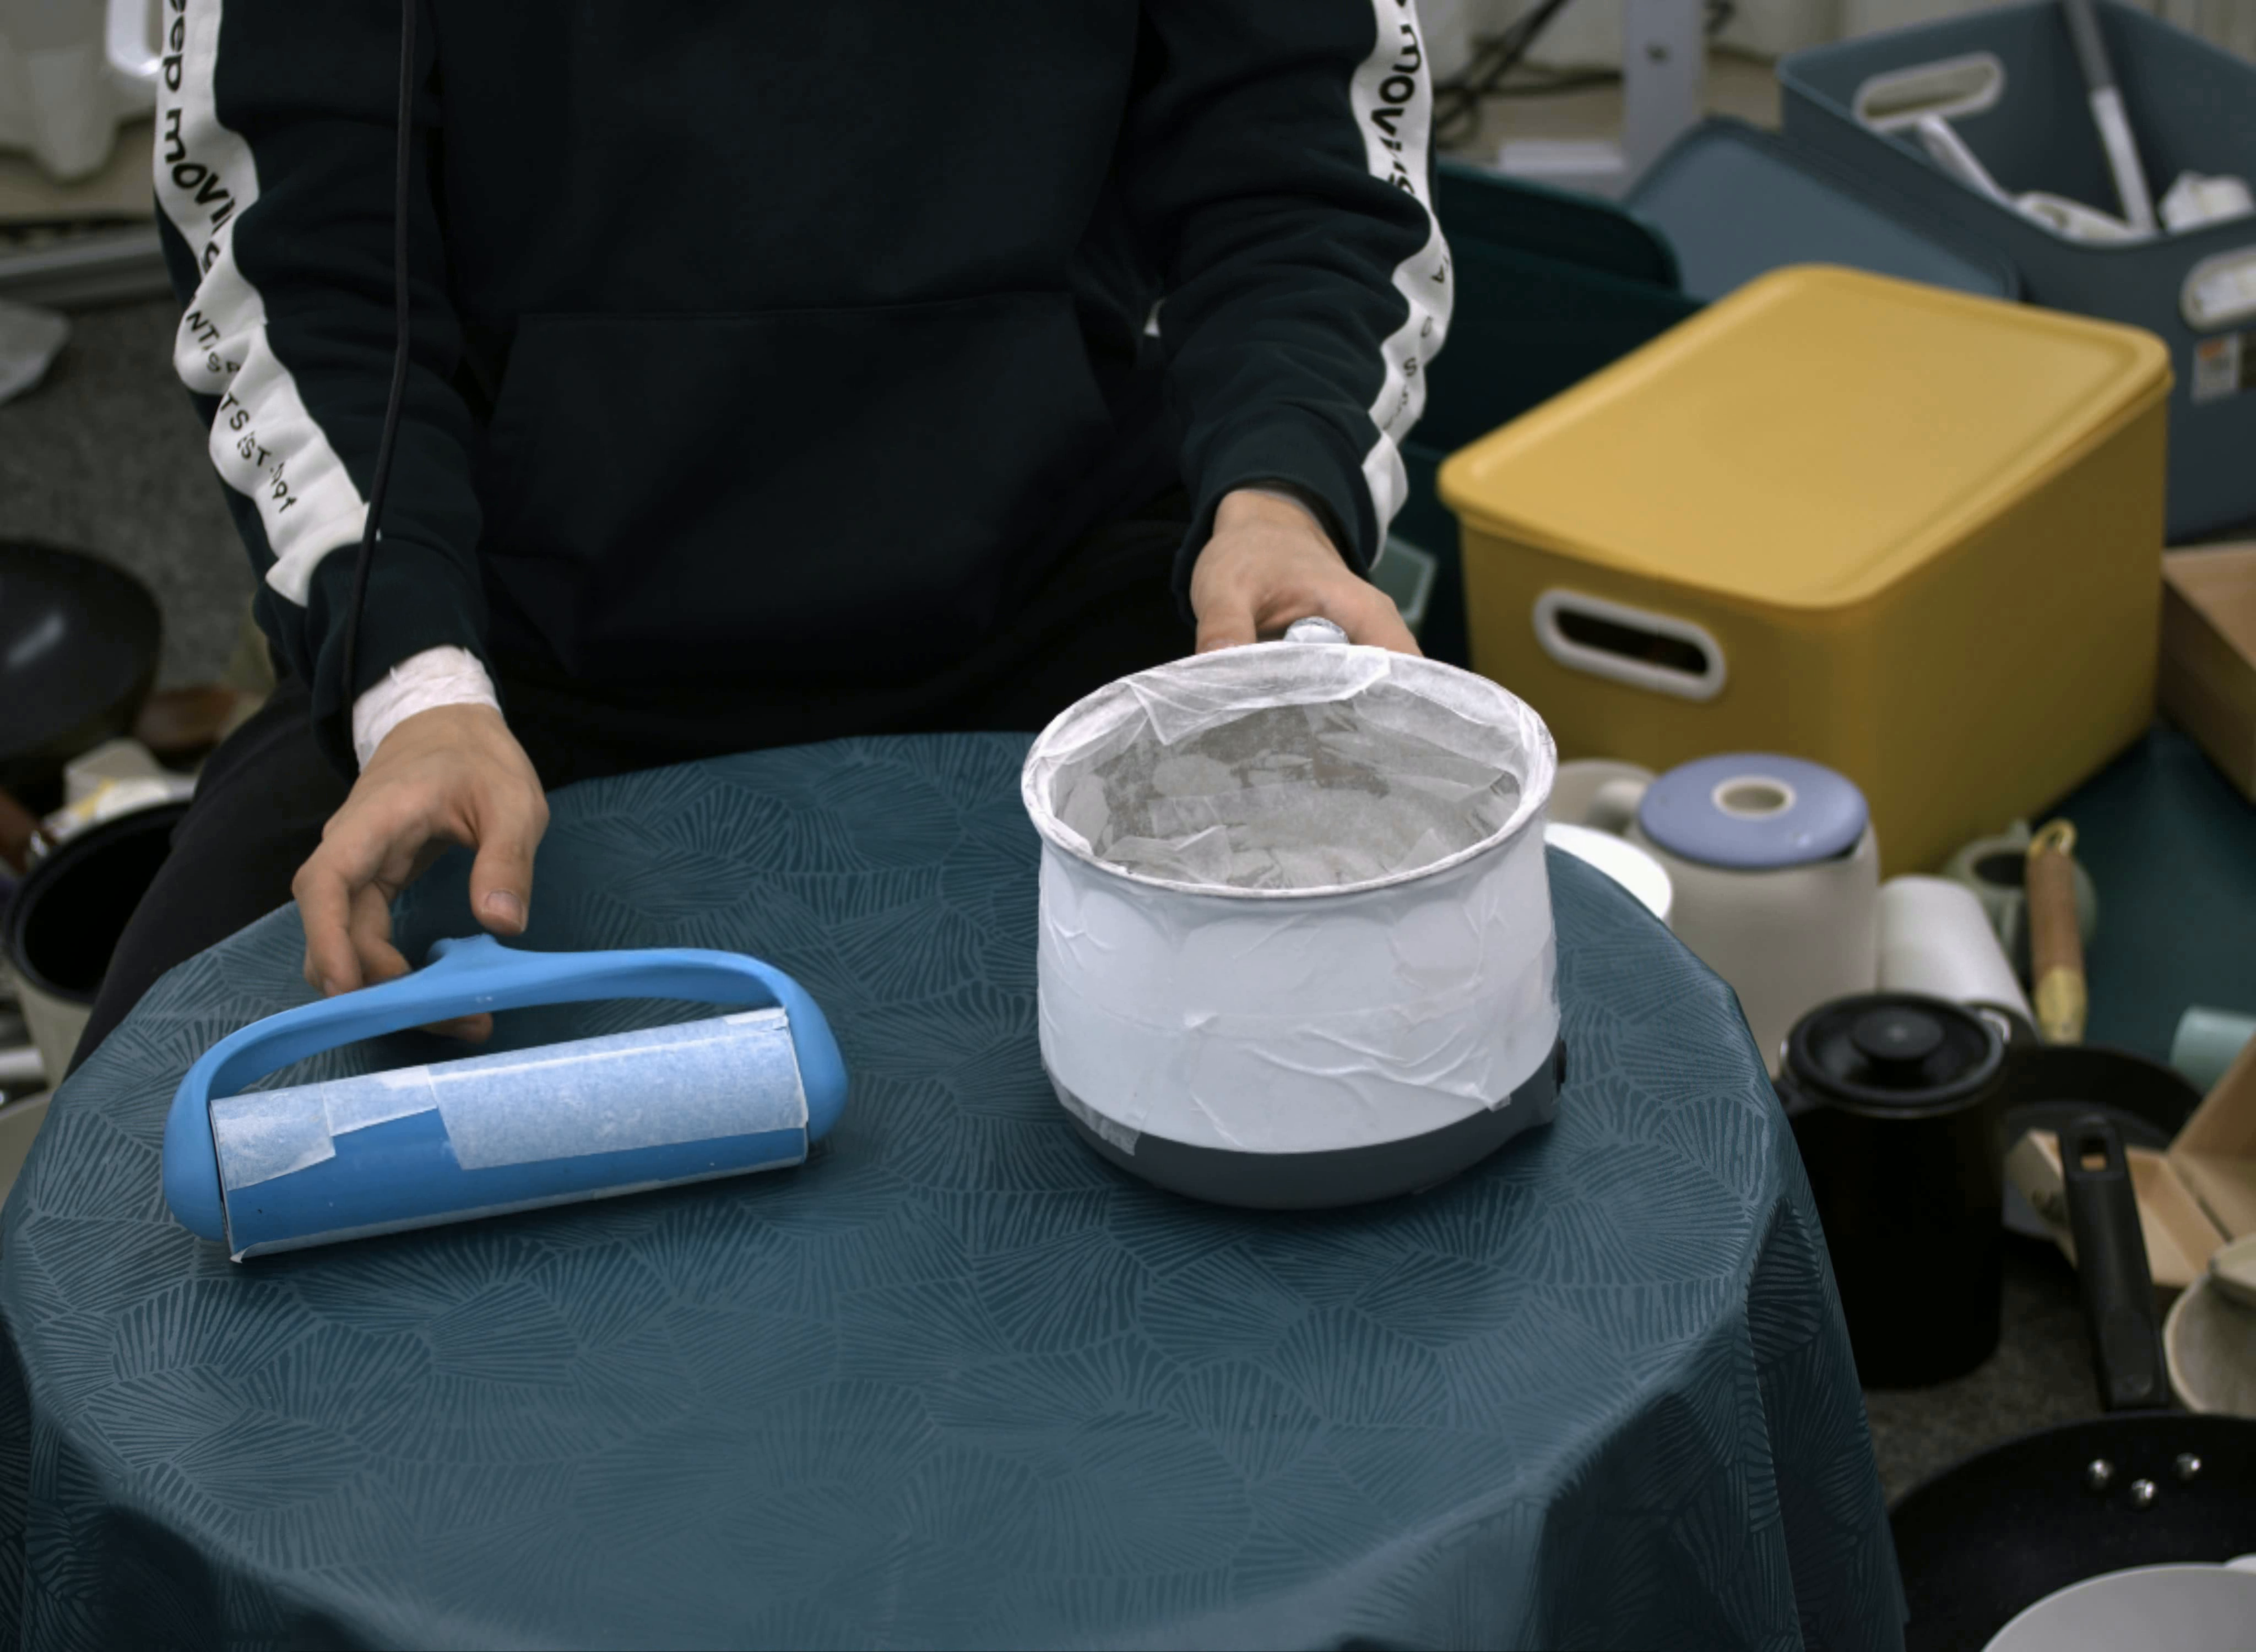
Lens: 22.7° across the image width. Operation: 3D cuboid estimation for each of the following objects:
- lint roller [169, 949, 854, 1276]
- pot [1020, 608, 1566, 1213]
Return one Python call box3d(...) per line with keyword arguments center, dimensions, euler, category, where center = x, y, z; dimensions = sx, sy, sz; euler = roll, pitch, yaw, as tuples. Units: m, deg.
box3d(center=(-0.220, 0.077, 1.907), dimensions=(0.229, 0.067, 0.182), euler=(-12, 30, -14), category="lint roller")
box3d(center=(0.059, 0.021, 1.897), dimensions=(0.177, 0.135, 0.237), euler=(0, 29, 6), category="pot")
